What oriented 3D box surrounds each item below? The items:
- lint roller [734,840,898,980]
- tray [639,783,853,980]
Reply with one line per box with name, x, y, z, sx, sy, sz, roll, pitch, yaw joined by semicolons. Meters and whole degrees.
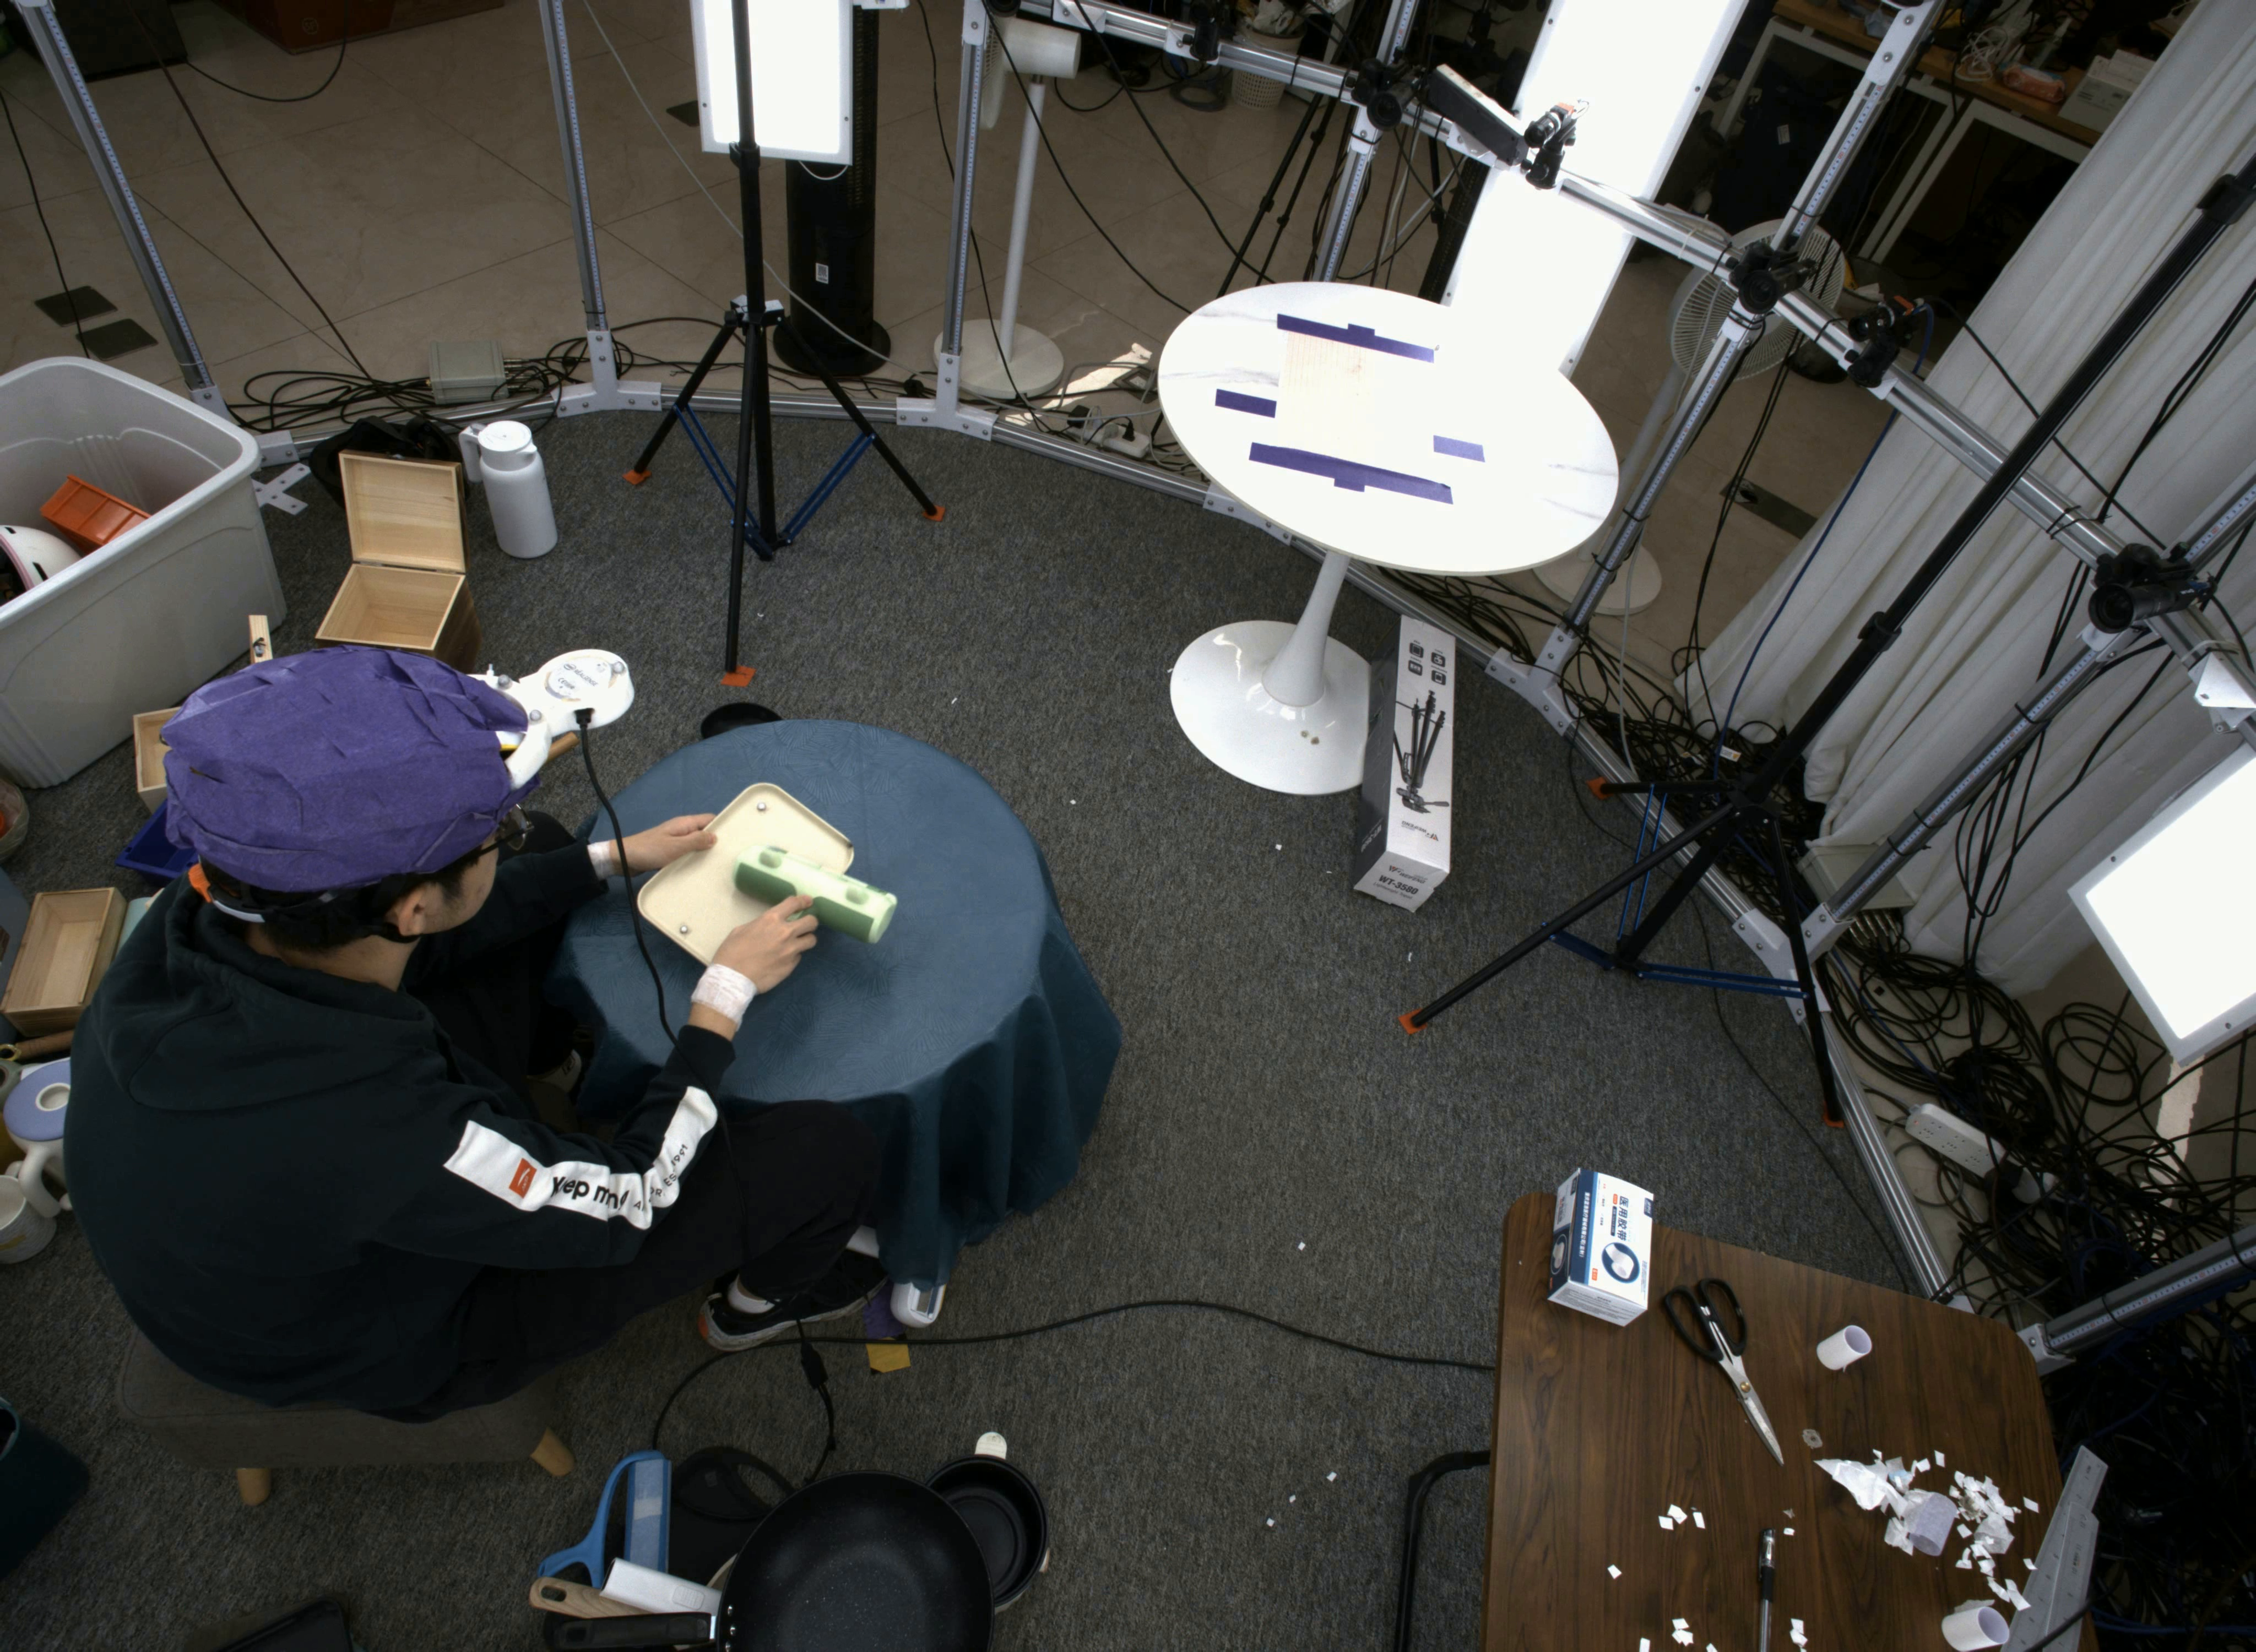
lint roller;-0.395;0.099;1.527;0.196;0.084;0.181;23;36;4
tray;-0.468;0.065;1.593;0.169;0.018;0.239;36;60;5
